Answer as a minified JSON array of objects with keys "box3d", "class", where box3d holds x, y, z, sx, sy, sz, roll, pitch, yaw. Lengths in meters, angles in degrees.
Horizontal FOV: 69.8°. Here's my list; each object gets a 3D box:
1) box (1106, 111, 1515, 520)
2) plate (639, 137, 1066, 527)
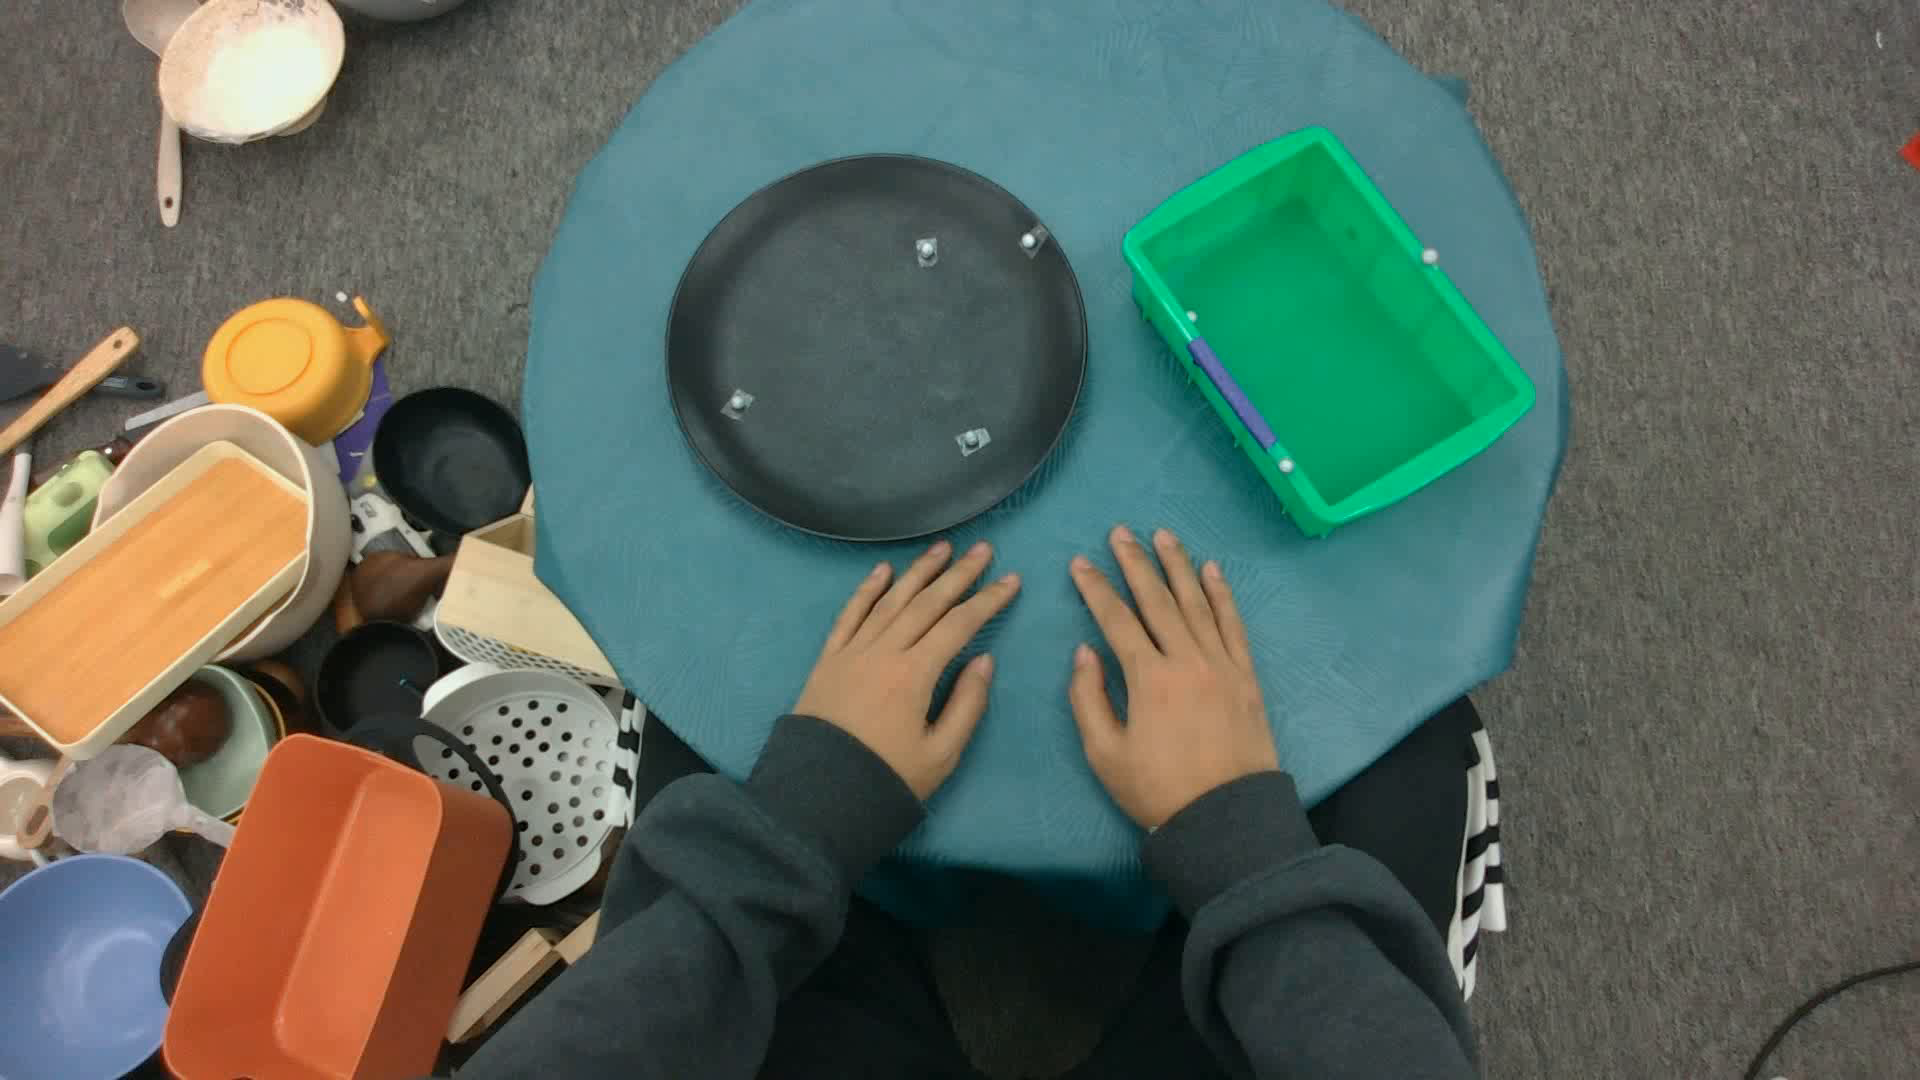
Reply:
[{"box3d":[0.187,-0.121,0.767,0.139,0.065,0.210,-32,77,-6],"class":"box"},{"box3d":[-0.061,-0.120,0.793,0.244,0.023,0.245,0,73,1],"class":"plate"}]
